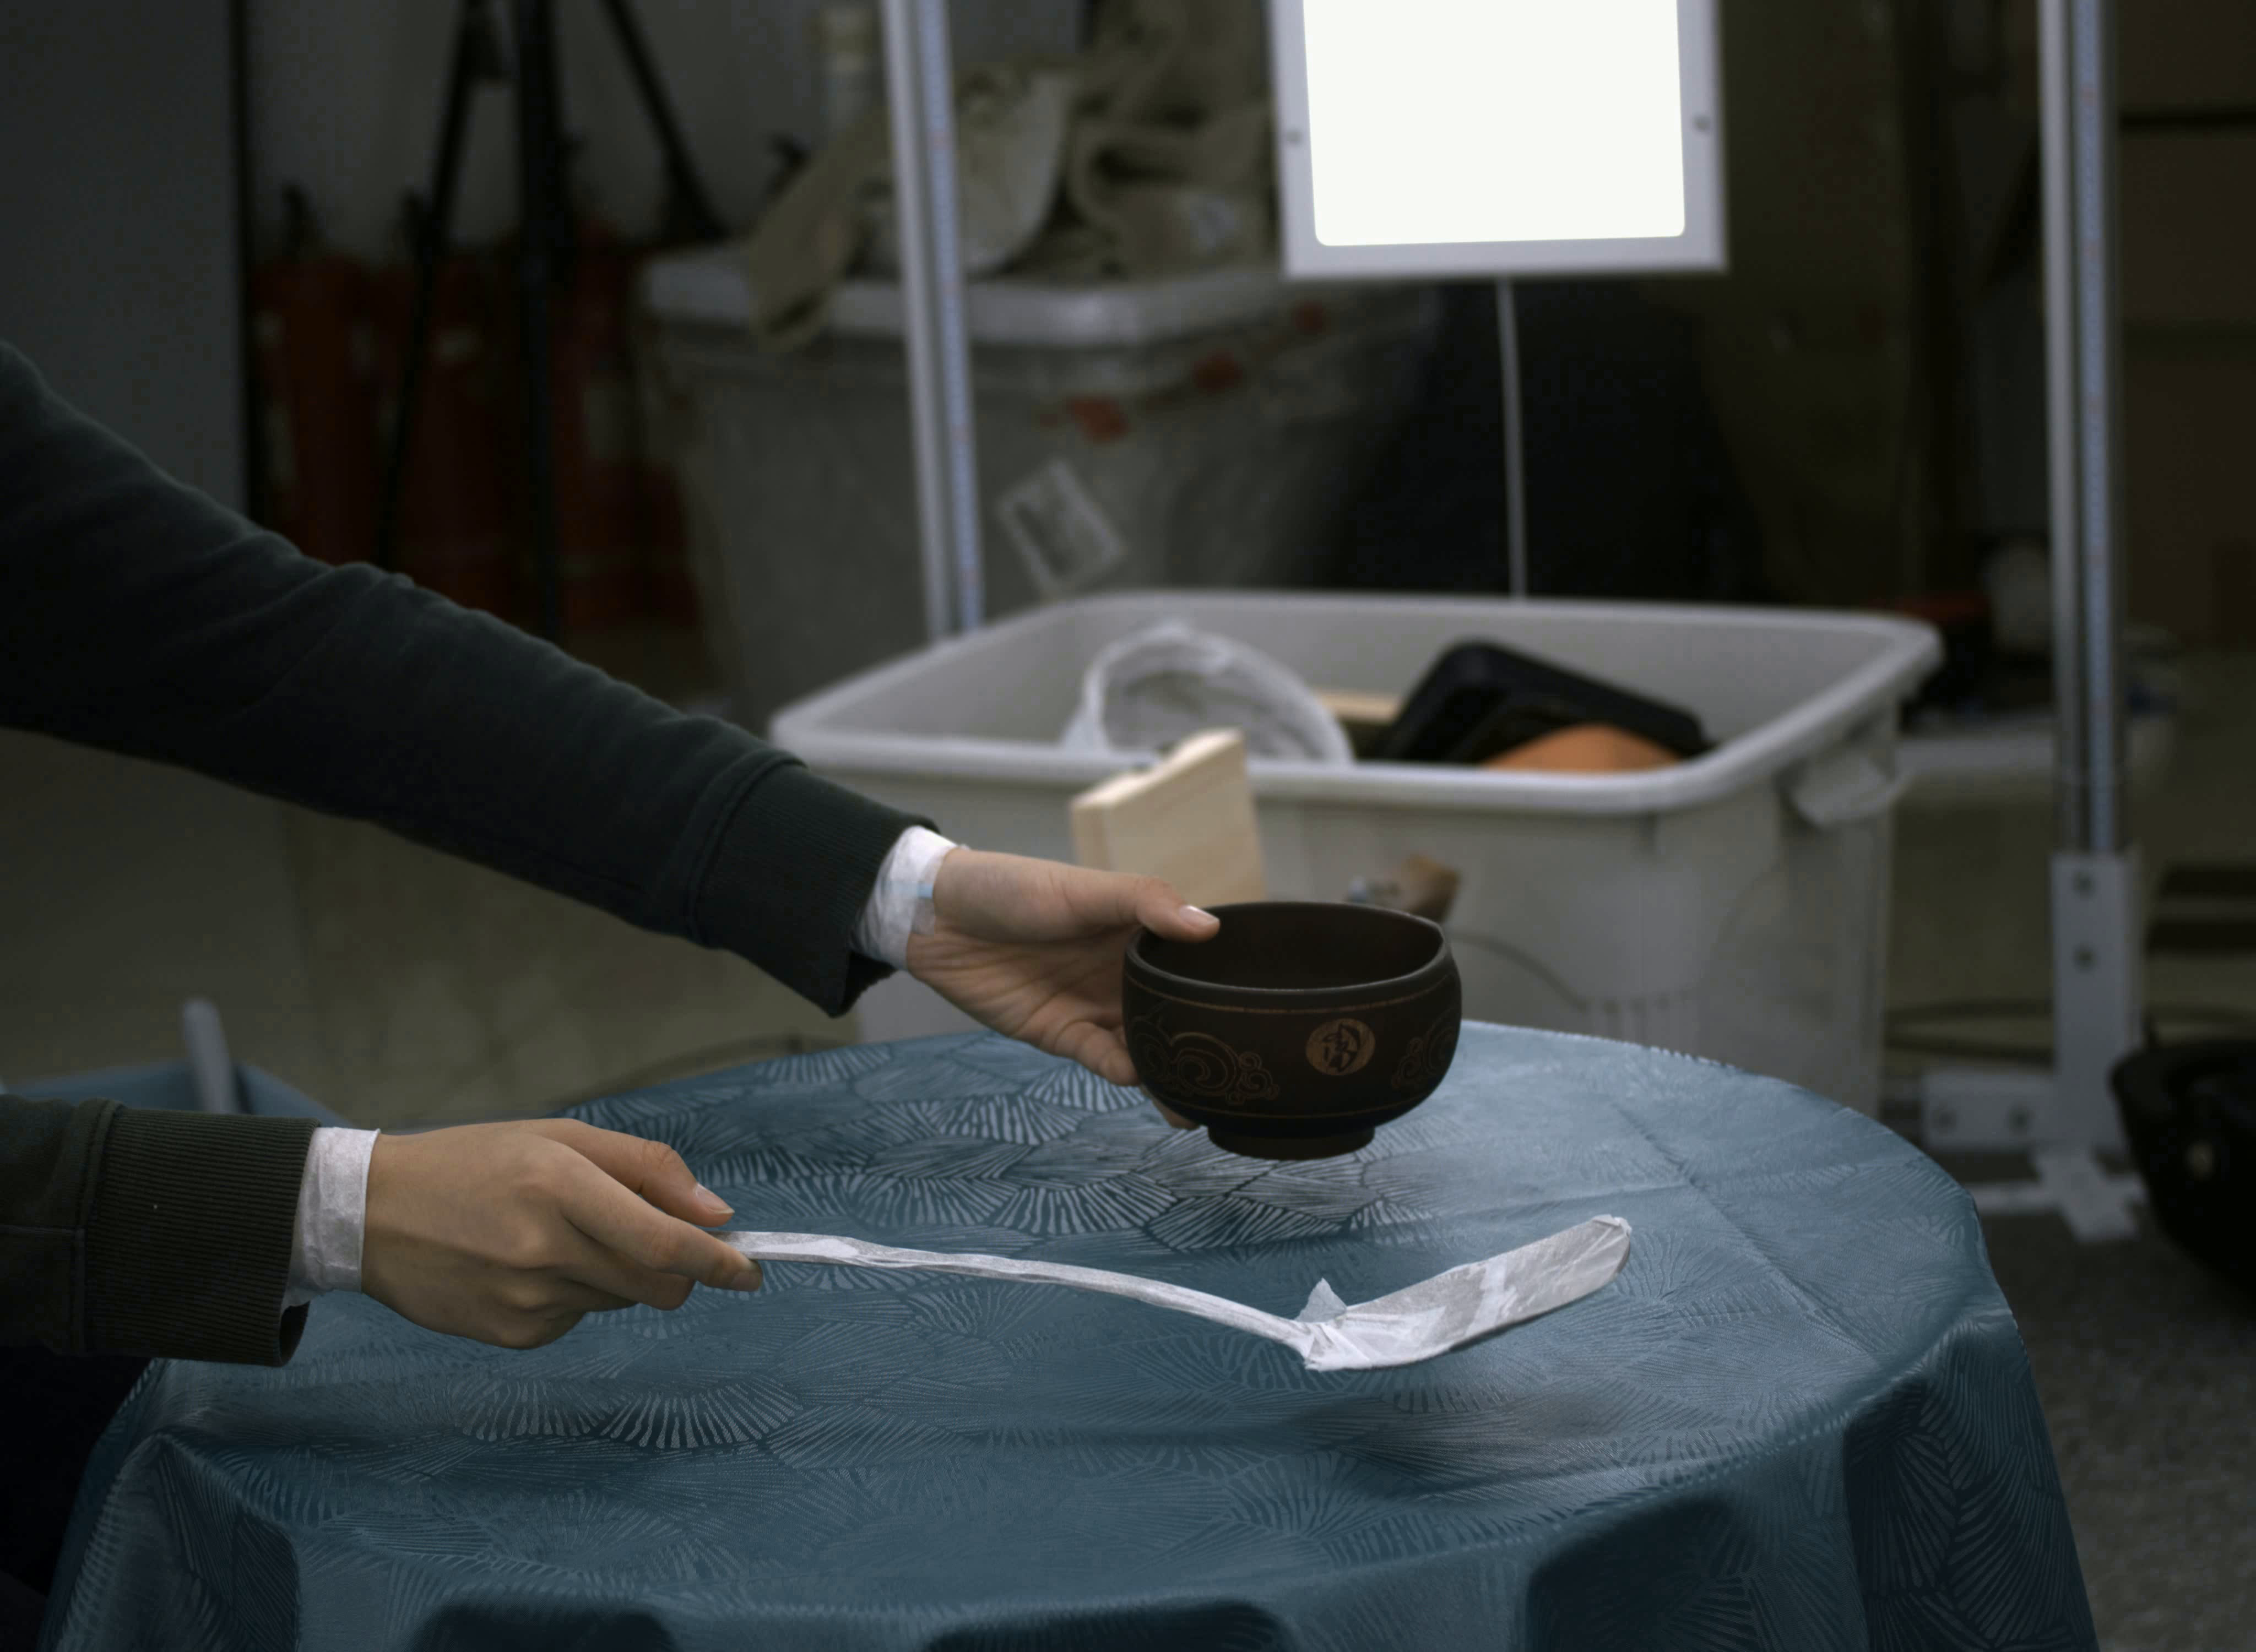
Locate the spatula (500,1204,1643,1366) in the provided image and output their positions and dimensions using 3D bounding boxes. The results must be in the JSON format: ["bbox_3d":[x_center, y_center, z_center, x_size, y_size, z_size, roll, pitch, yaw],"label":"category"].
[{"bbox_3d":[-0.026,0.130,1.674,0.369,0.045,0.097,5,15,17],"label":"spatula"}]

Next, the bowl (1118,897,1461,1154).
[{"bbox_3d":[0.055,0.071,1.872,0.117,0.070,0.118,-2,13,-1],"label":"bowl"}]
